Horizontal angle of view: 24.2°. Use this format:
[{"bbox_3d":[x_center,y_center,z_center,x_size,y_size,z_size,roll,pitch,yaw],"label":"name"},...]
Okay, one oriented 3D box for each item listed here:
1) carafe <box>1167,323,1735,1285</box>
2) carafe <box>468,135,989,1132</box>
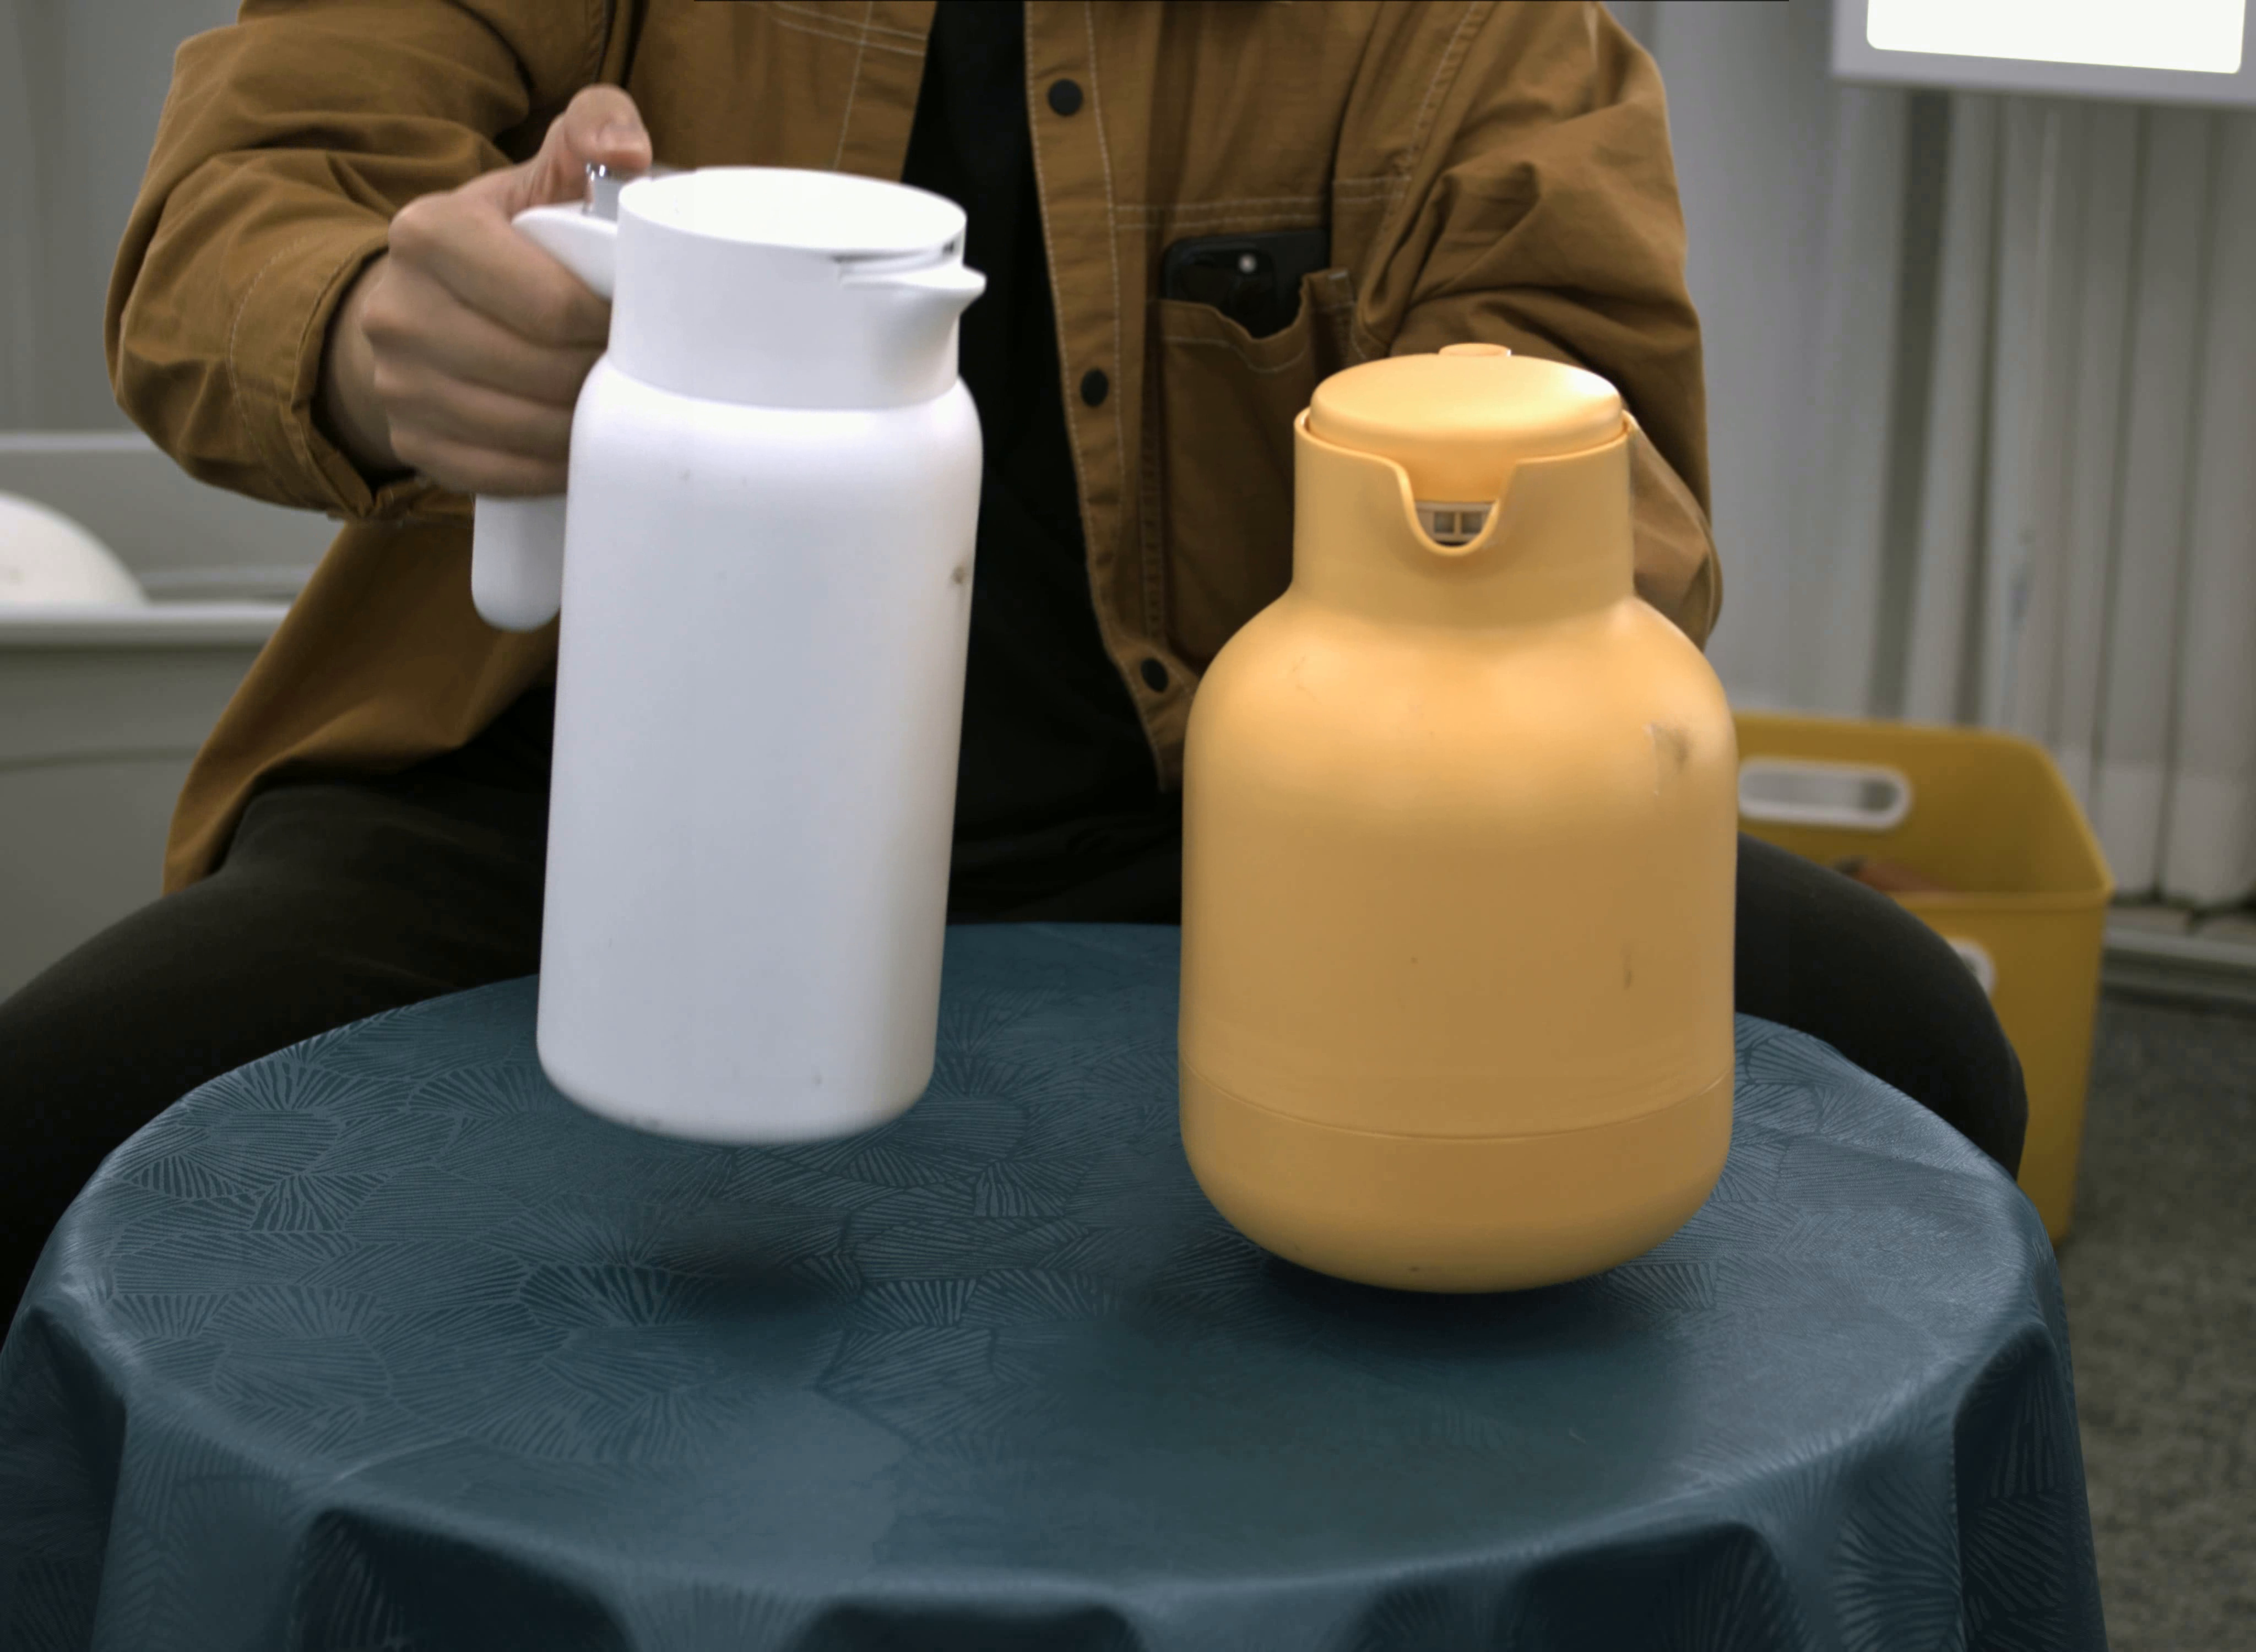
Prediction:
[{"bbox_3d":[0.098,-0.015,1.534,0.162,0.263,0.201,5,20,7],"label":"carafe"},{"bbox_3d":[-0.119,-0.059,1.510,0.170,0.271,0.124,18,24,32],"label":"carafe"}]
